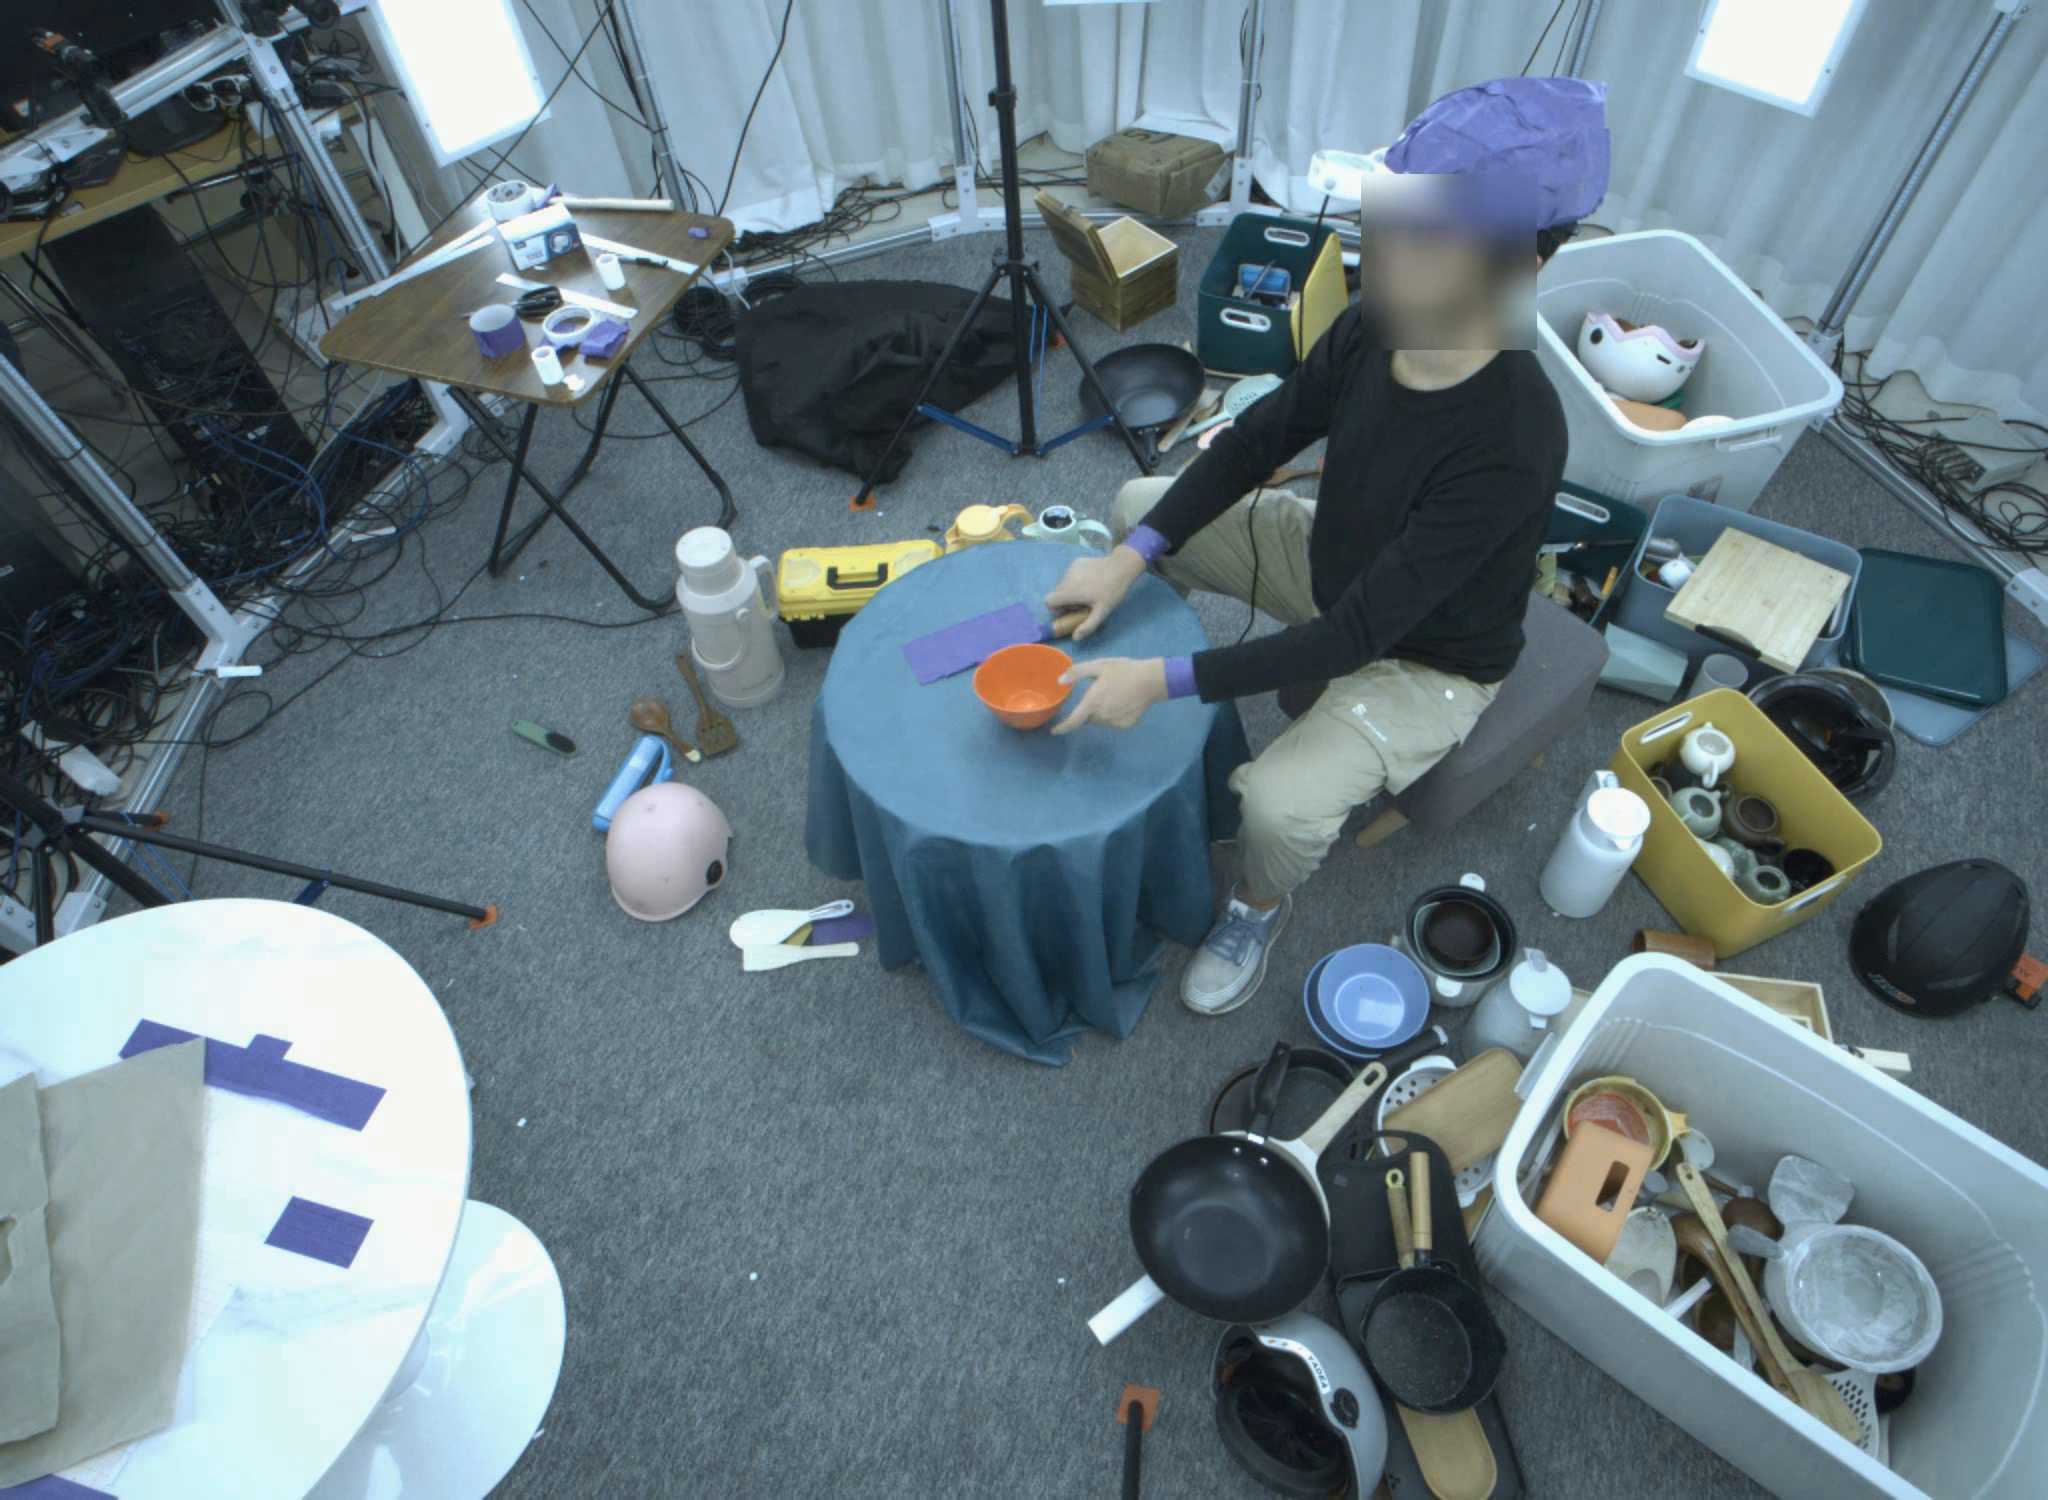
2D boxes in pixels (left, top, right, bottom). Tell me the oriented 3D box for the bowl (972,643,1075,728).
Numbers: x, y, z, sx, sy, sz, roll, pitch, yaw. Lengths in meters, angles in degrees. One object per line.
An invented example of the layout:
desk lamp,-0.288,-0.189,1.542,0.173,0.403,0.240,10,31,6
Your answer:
bowl,0.002,-0.079,1.777,0.148,0.106,0.146,-1,54,3

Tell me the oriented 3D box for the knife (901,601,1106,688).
knife,-0.034,-0.187,1.901,0.317,0.032,0.102,-20,57,-11
